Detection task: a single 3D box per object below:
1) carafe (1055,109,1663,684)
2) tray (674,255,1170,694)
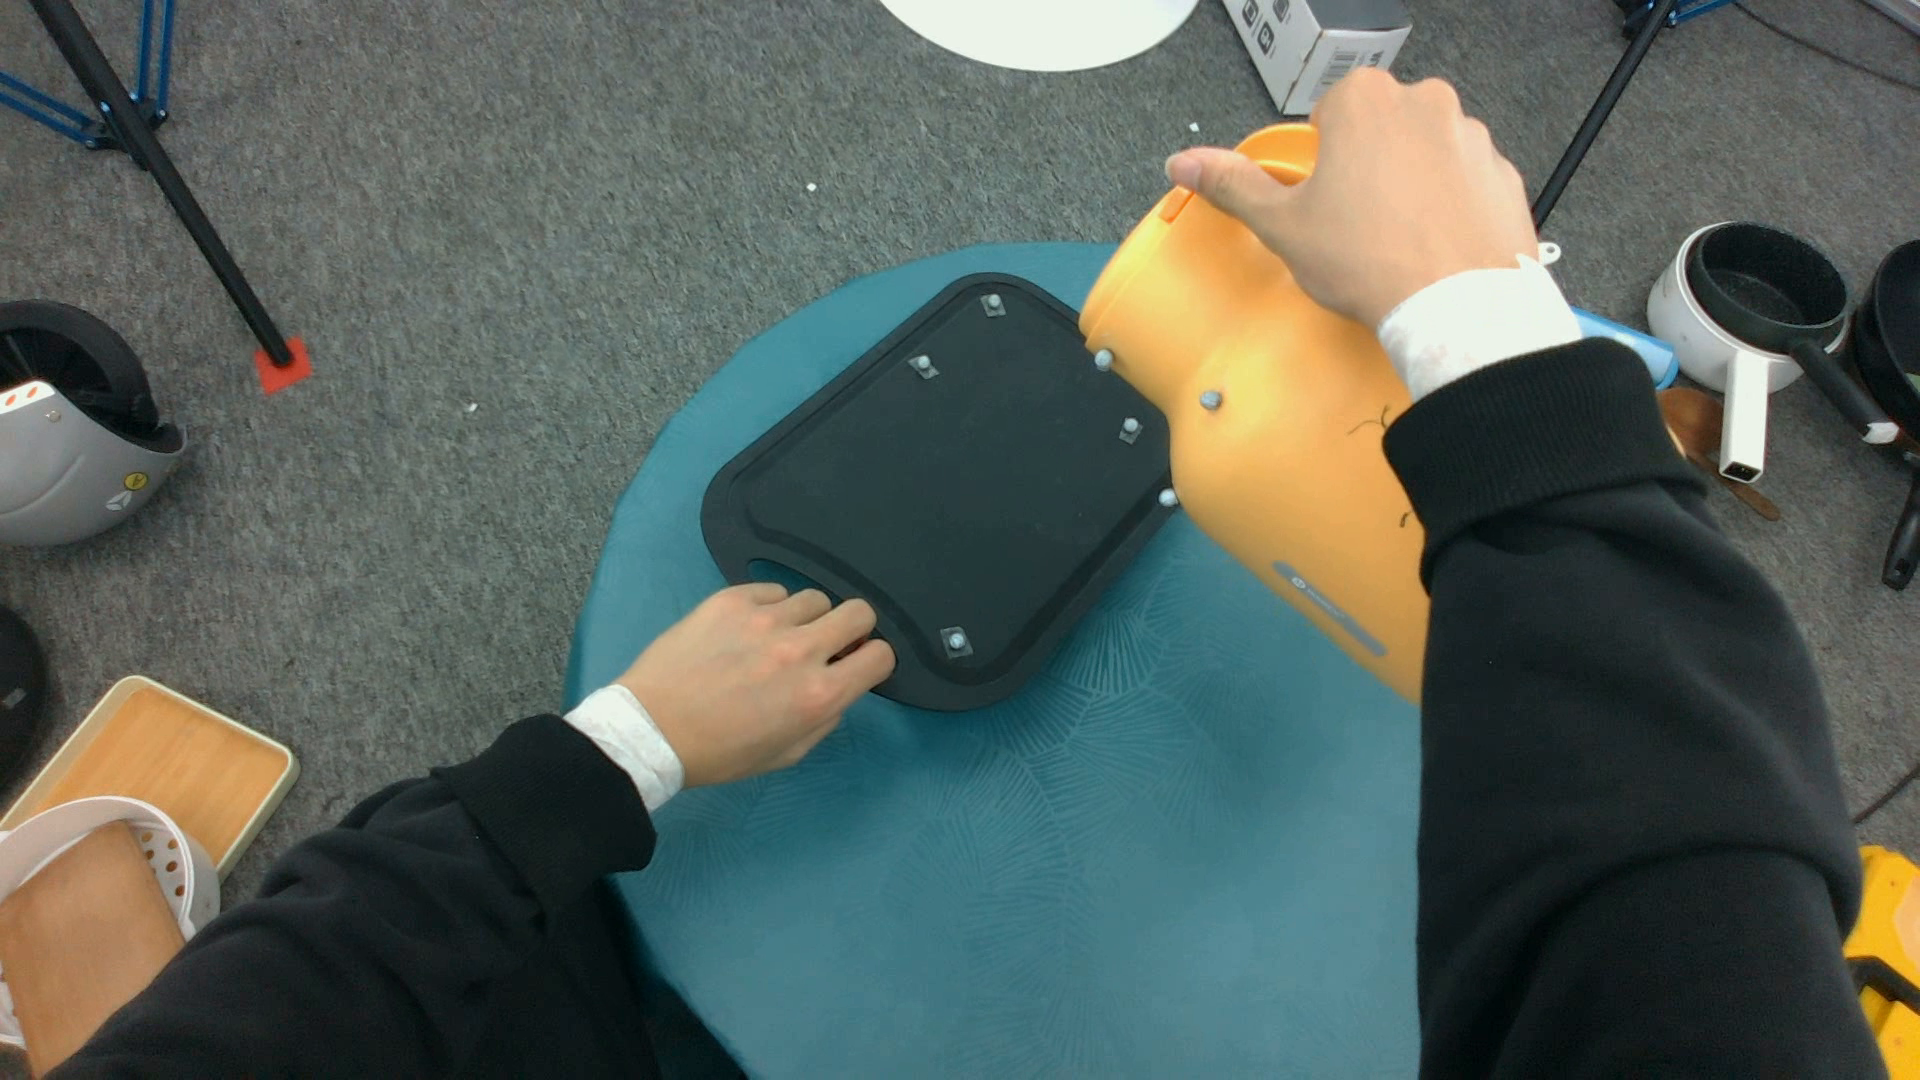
[{"bbox_3d":[0.170,-0.070,0.606,0.260,0.201,0.164,37,69,5],"label":"carafe"},{"bbox_3d":[-0.006,-0.050,0.800,0.211,0.010,0.327,36,53,12],"label":"tray"}]
